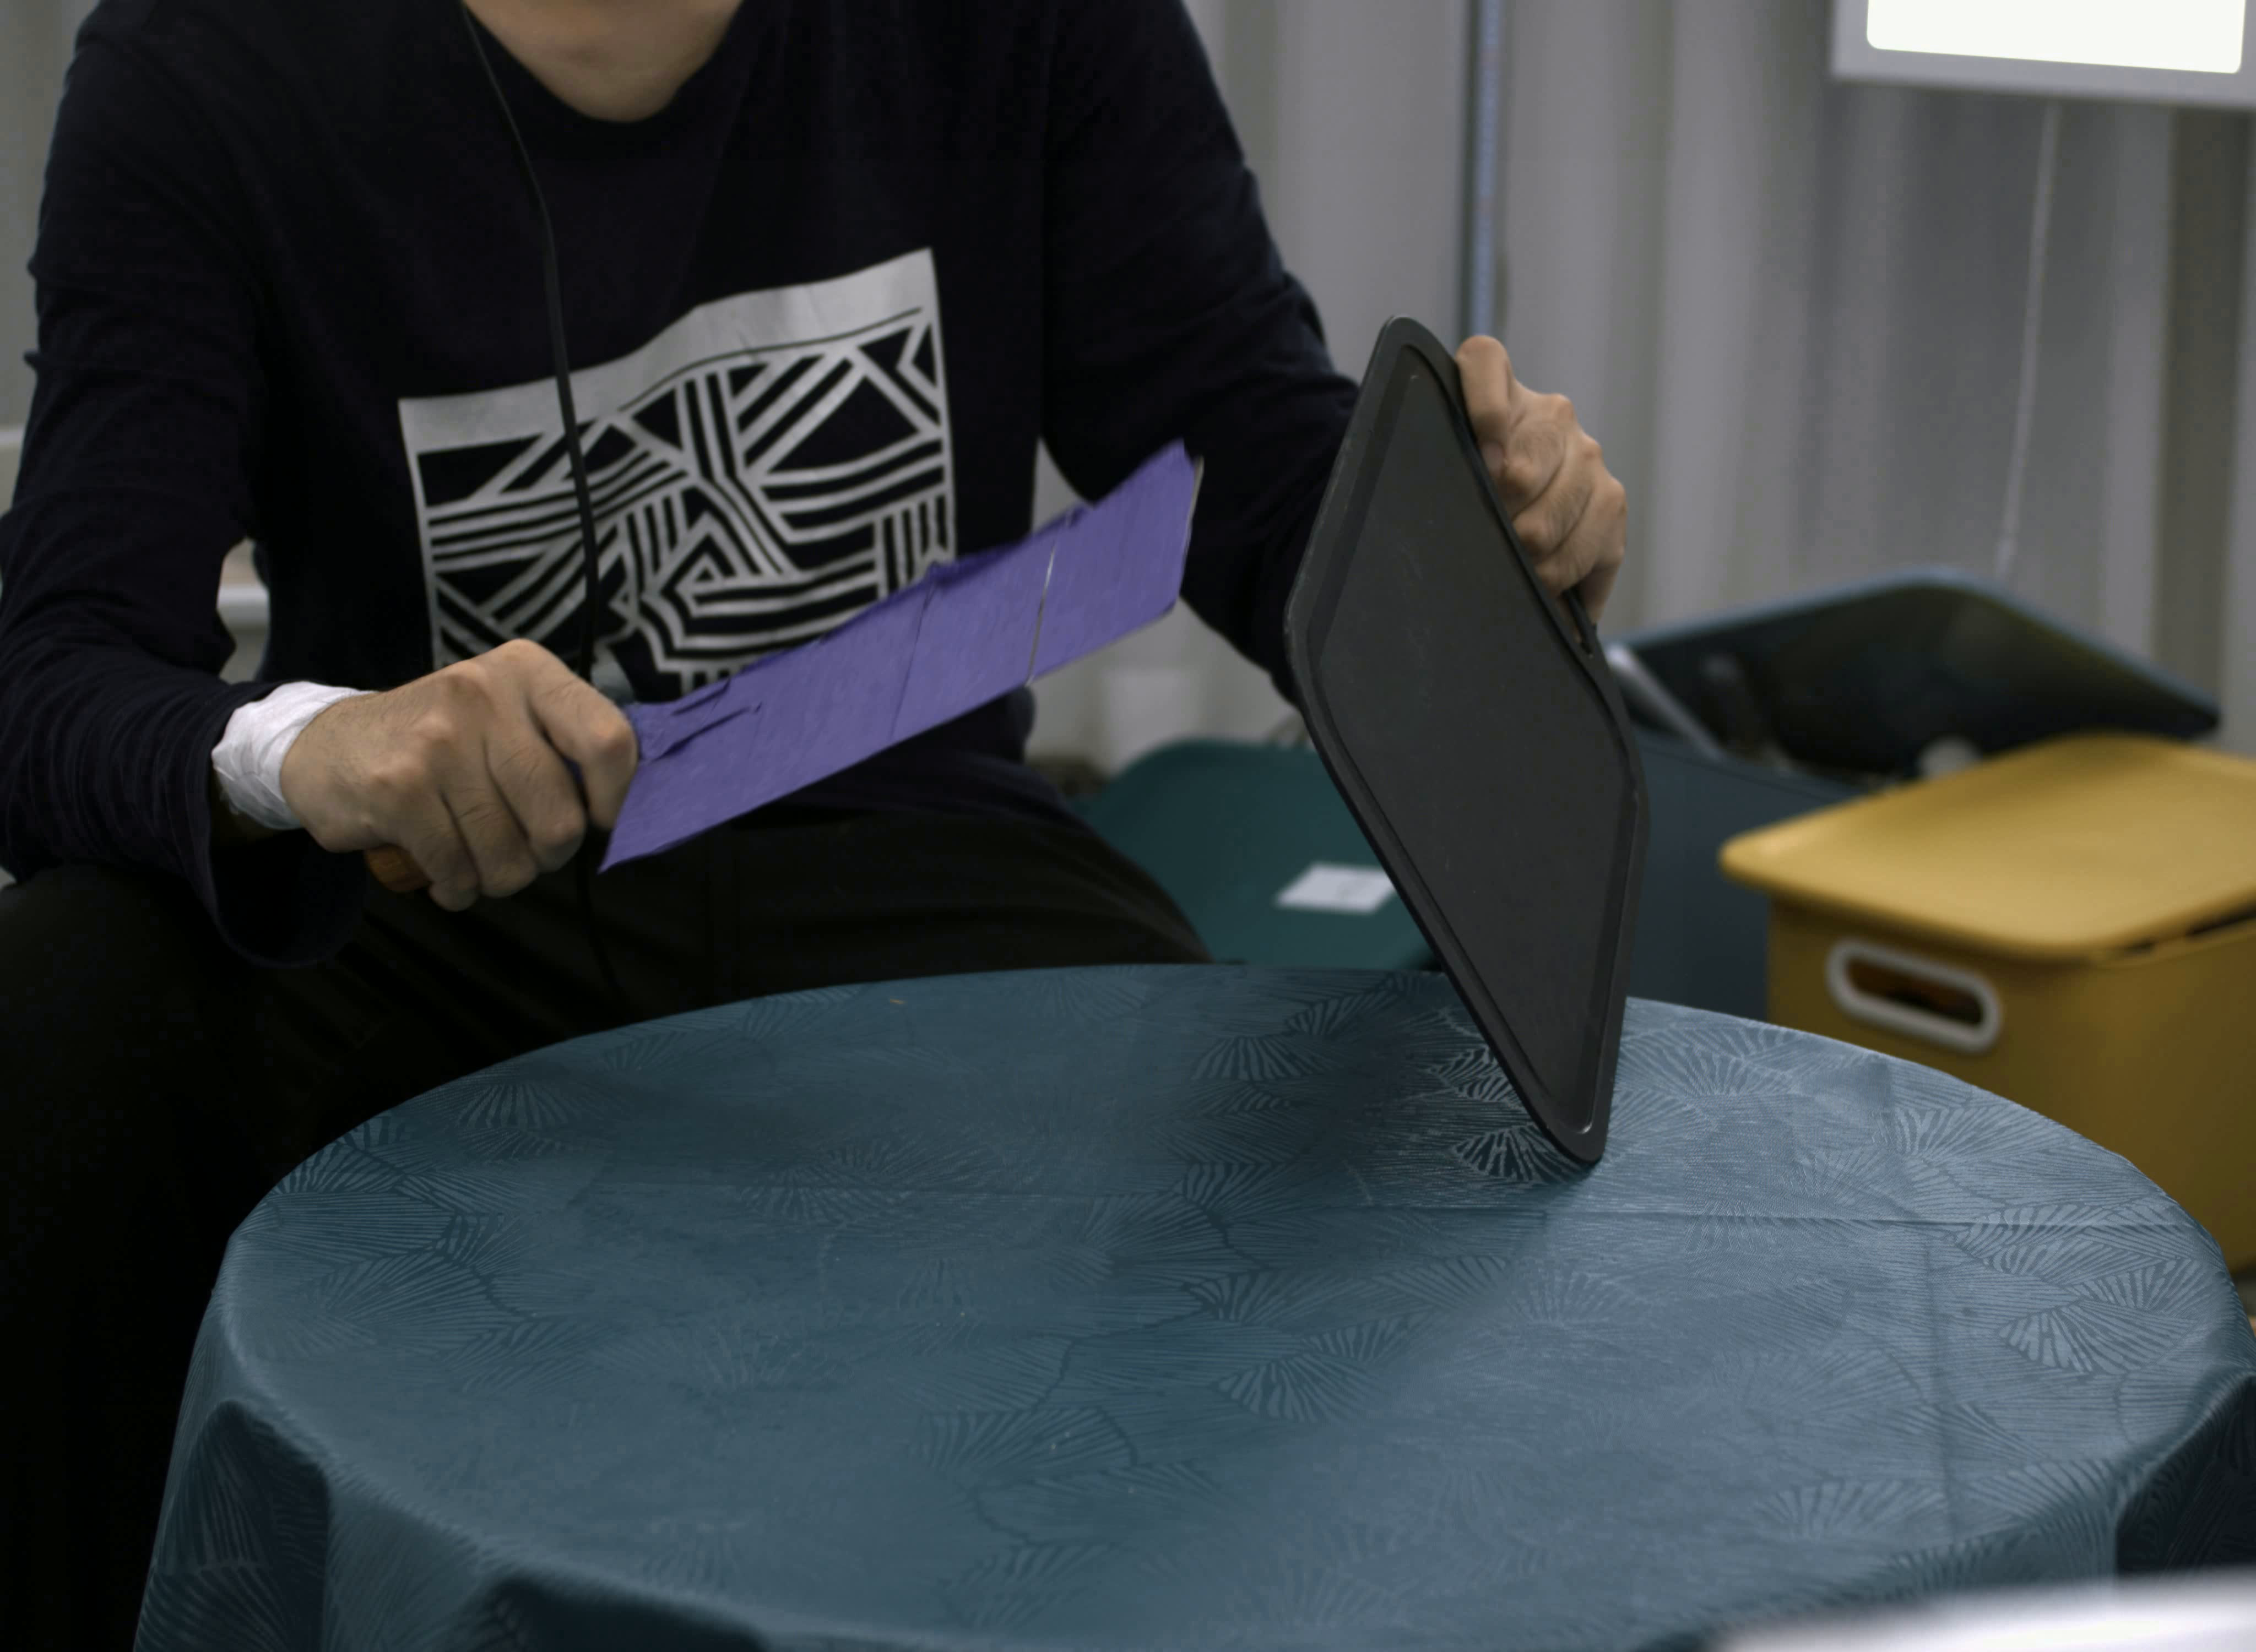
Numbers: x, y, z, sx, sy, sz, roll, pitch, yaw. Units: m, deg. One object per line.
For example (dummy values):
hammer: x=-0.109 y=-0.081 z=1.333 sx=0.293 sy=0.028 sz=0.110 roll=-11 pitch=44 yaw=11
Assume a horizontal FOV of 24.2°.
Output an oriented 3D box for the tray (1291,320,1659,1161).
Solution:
tray: x=0.120 y=-0.039 z=1.733 sx=0.010 sy=0.213 sz=0.324 roll=-22 pitch=21 yaw=21

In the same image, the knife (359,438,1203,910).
knife: x=-0.115 y=-0.032 z=1.610 sx=0.314 sy=0.032 sz=0.103 roll=-26 pitch=25 yaw=23
